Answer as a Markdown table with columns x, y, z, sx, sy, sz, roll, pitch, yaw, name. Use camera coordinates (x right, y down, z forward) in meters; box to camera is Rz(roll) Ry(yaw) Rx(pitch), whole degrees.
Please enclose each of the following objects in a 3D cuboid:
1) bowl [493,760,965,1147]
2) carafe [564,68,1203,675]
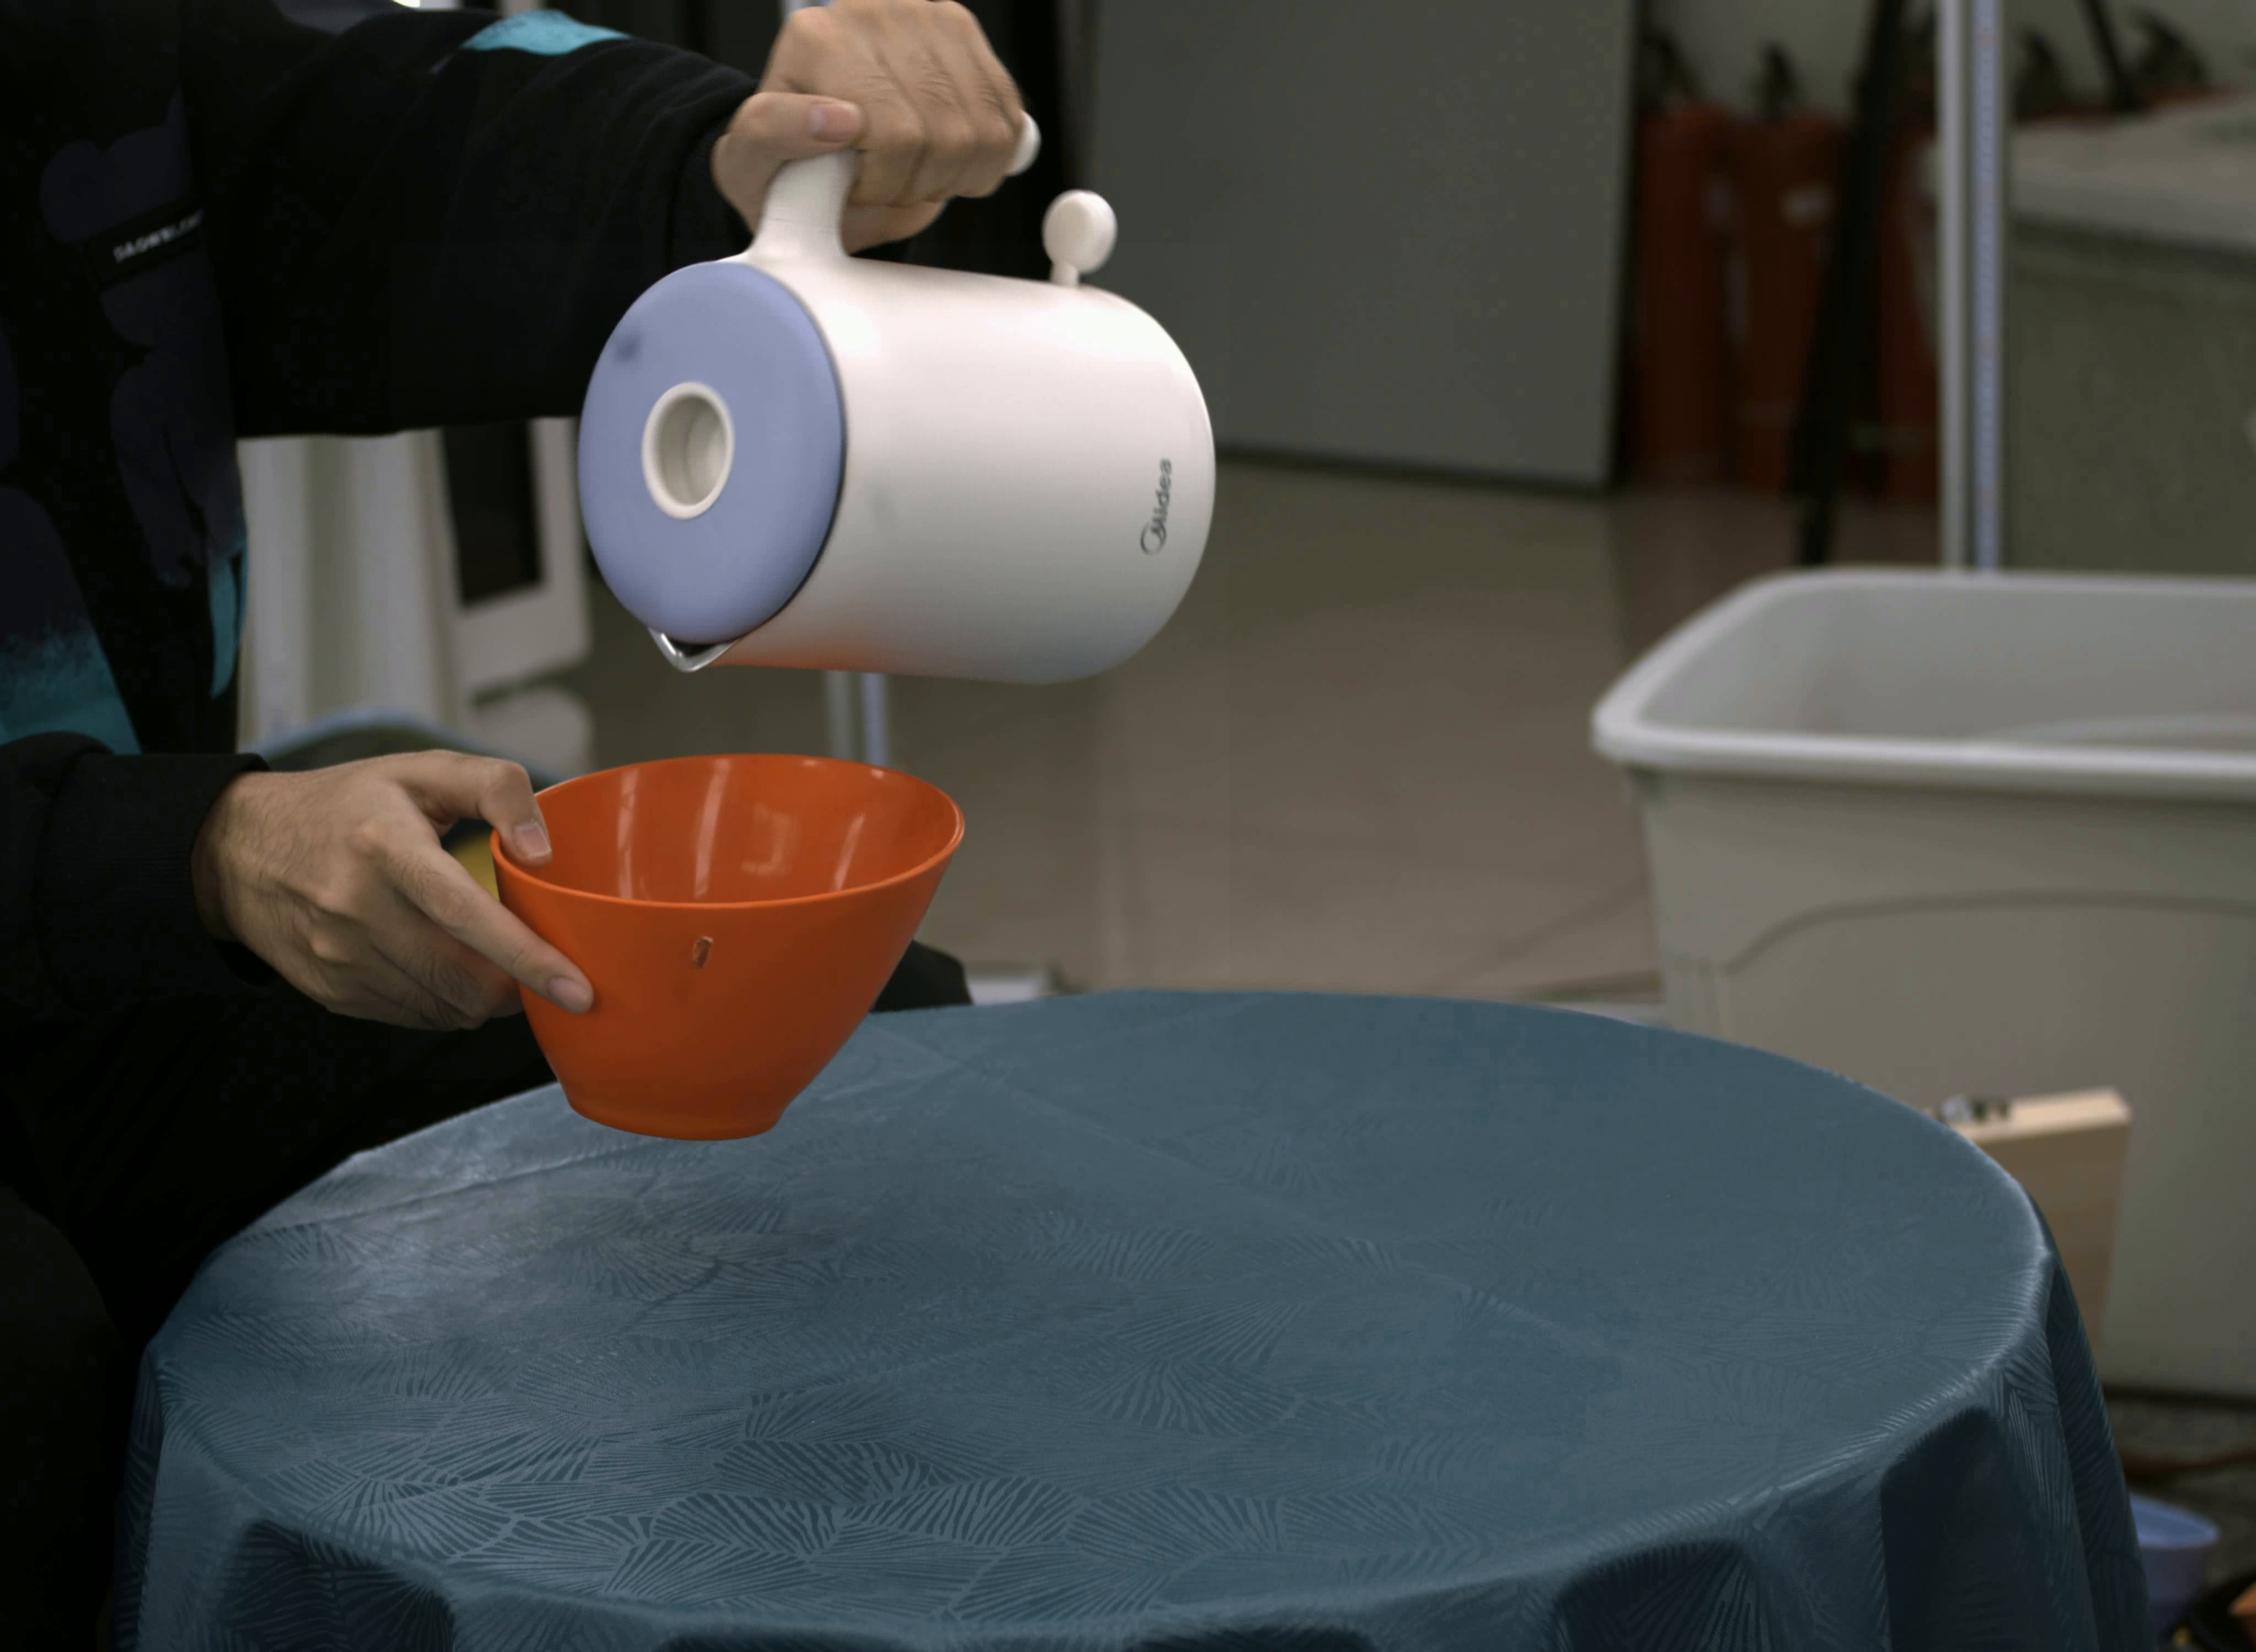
| x | y | z | sx | sy | sz | roll | pitch | yaw | name |
| --- | --- | --- | --- | --- | --- | --- | --- | --- | --- |
| -0.128 | 0.041 | 1.691 | 0.146 | 0.106 | 0.148 | 6 | 11 | -2 | bowl |
| -0.073 | -0.142 | 1.707 | 0.133 | 0.193 | 0.178 | 10 | 4 | 44 | carafe |
